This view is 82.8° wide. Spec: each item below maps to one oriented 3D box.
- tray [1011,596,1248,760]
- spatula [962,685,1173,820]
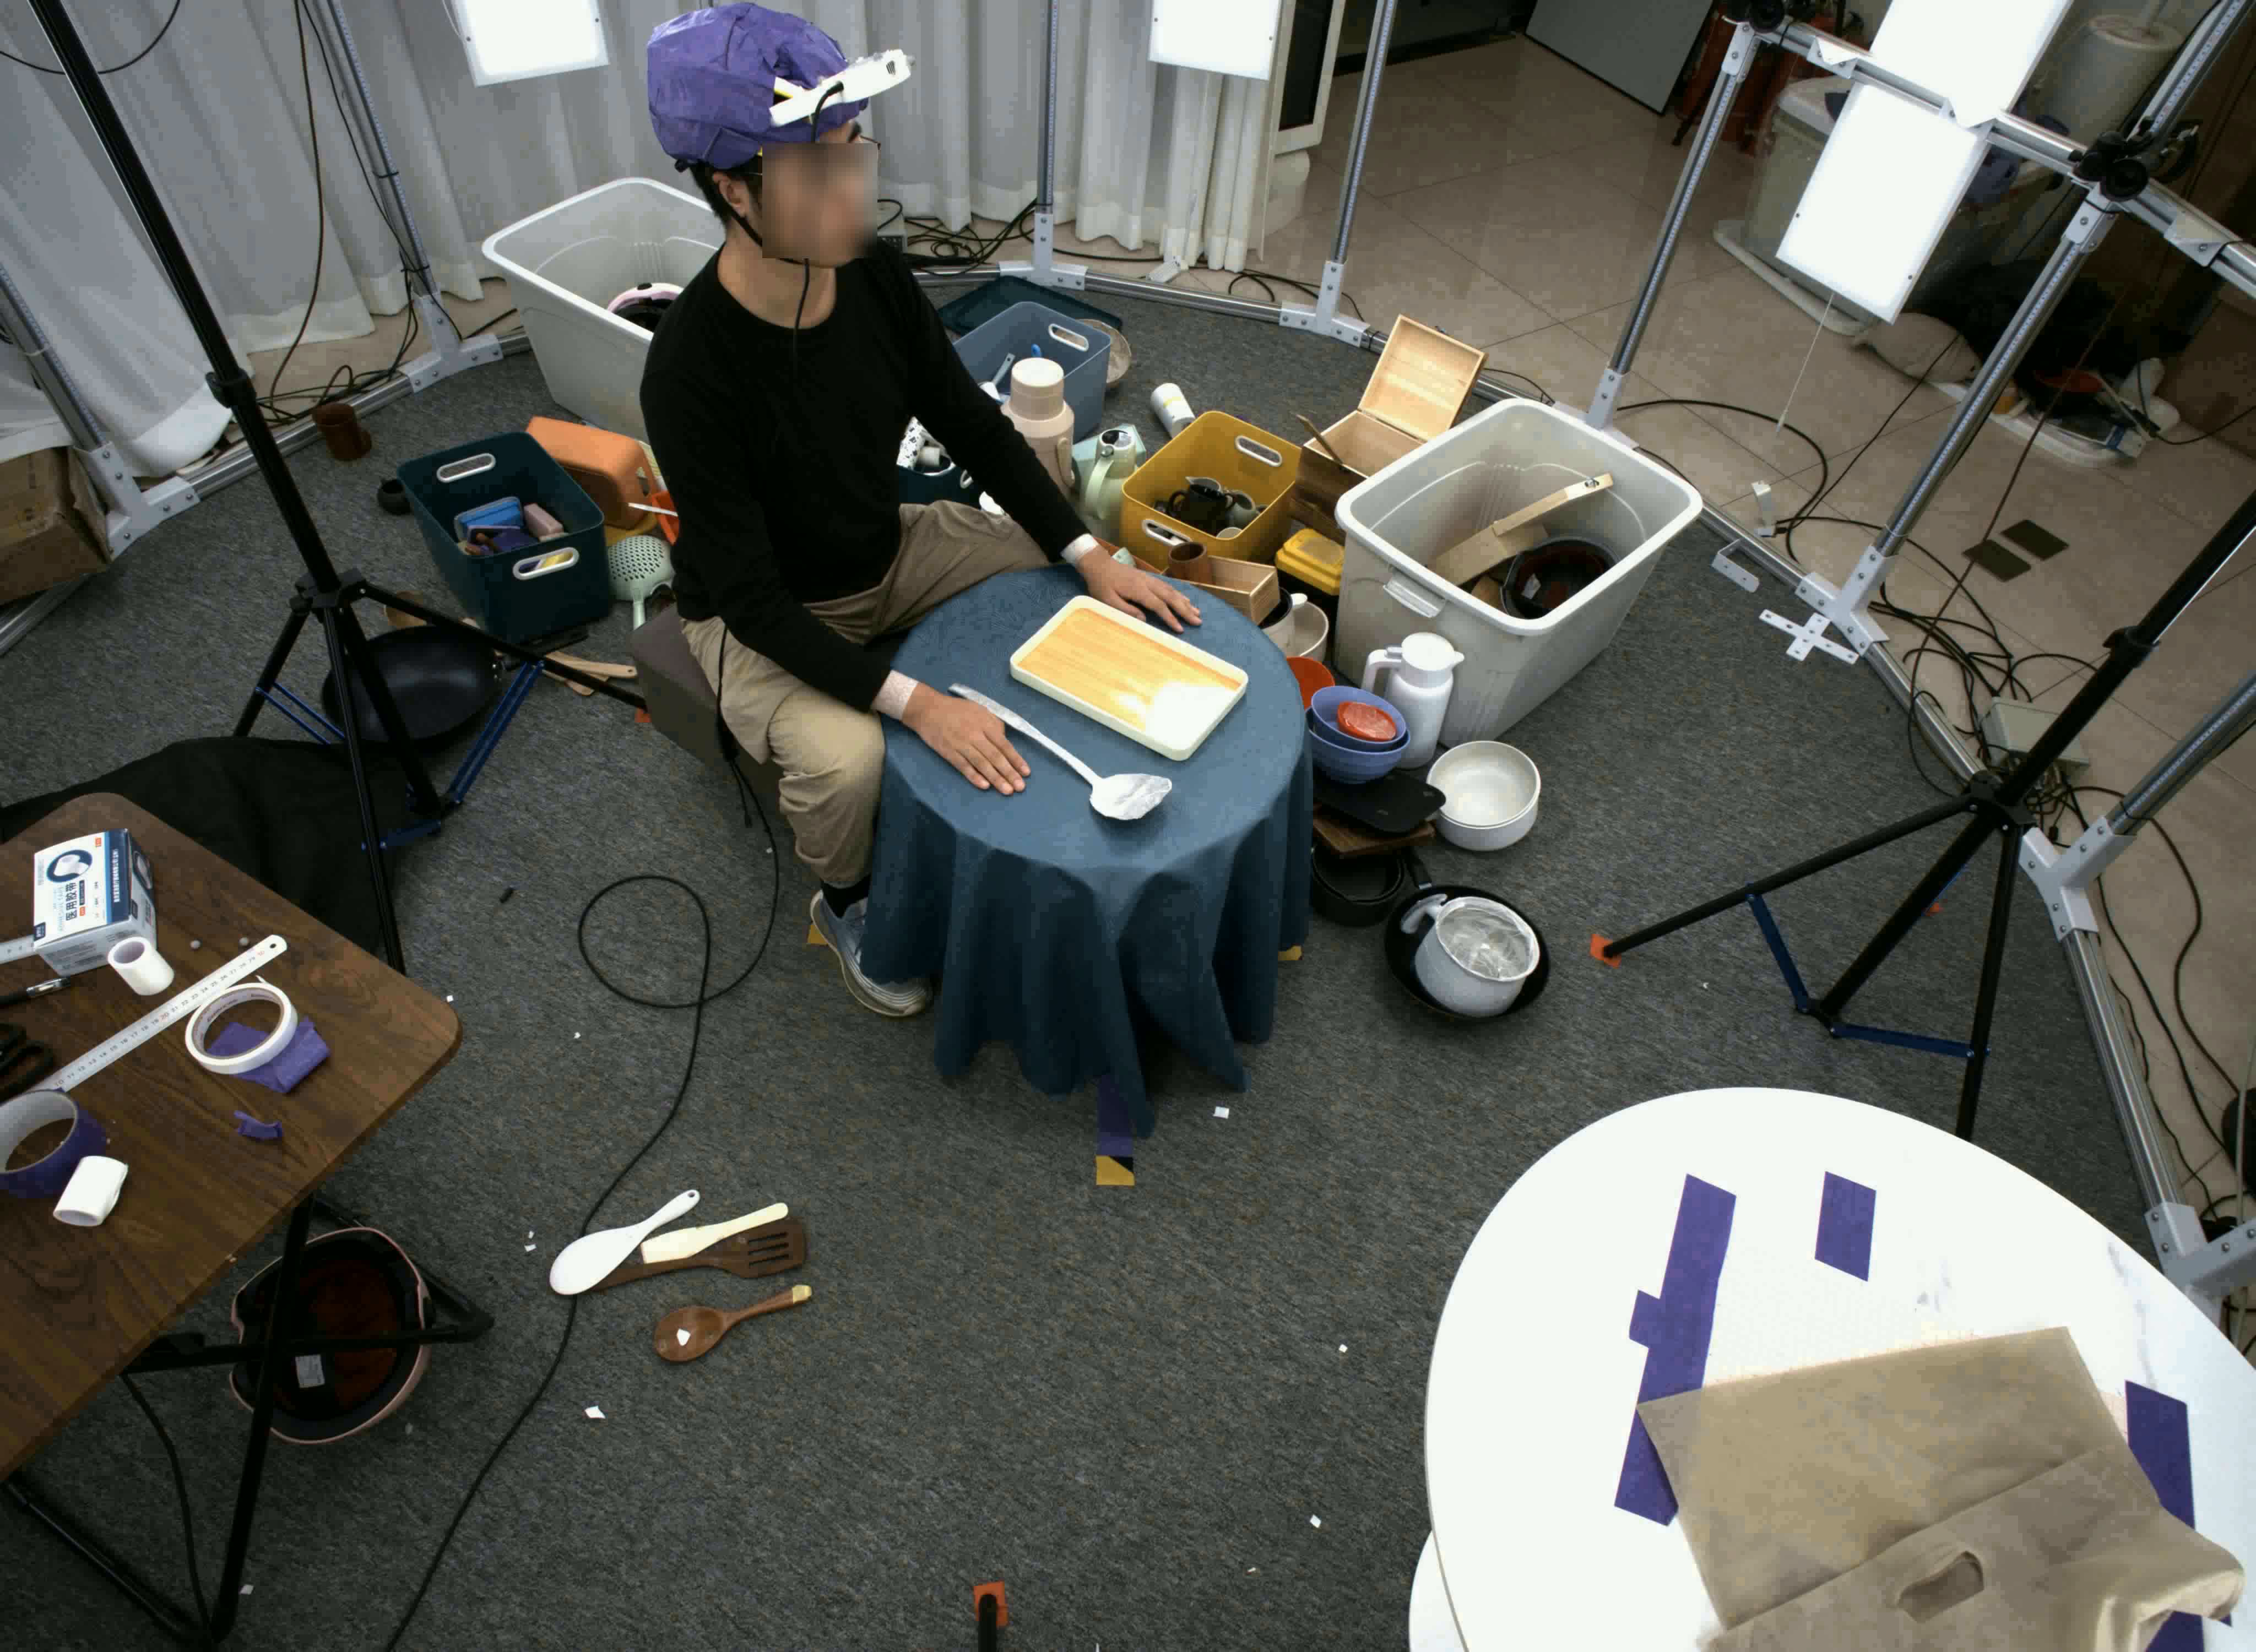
[{"bbox_3d":[0.002,-0.218,1.841,0.303,0.027,0.194,29,53,20],"label":"tray"},{"bbox_3d":[-0.101,-0.112,1.735,0.369,0.044,0.100,35,56,23],"label":"spatula"}]
